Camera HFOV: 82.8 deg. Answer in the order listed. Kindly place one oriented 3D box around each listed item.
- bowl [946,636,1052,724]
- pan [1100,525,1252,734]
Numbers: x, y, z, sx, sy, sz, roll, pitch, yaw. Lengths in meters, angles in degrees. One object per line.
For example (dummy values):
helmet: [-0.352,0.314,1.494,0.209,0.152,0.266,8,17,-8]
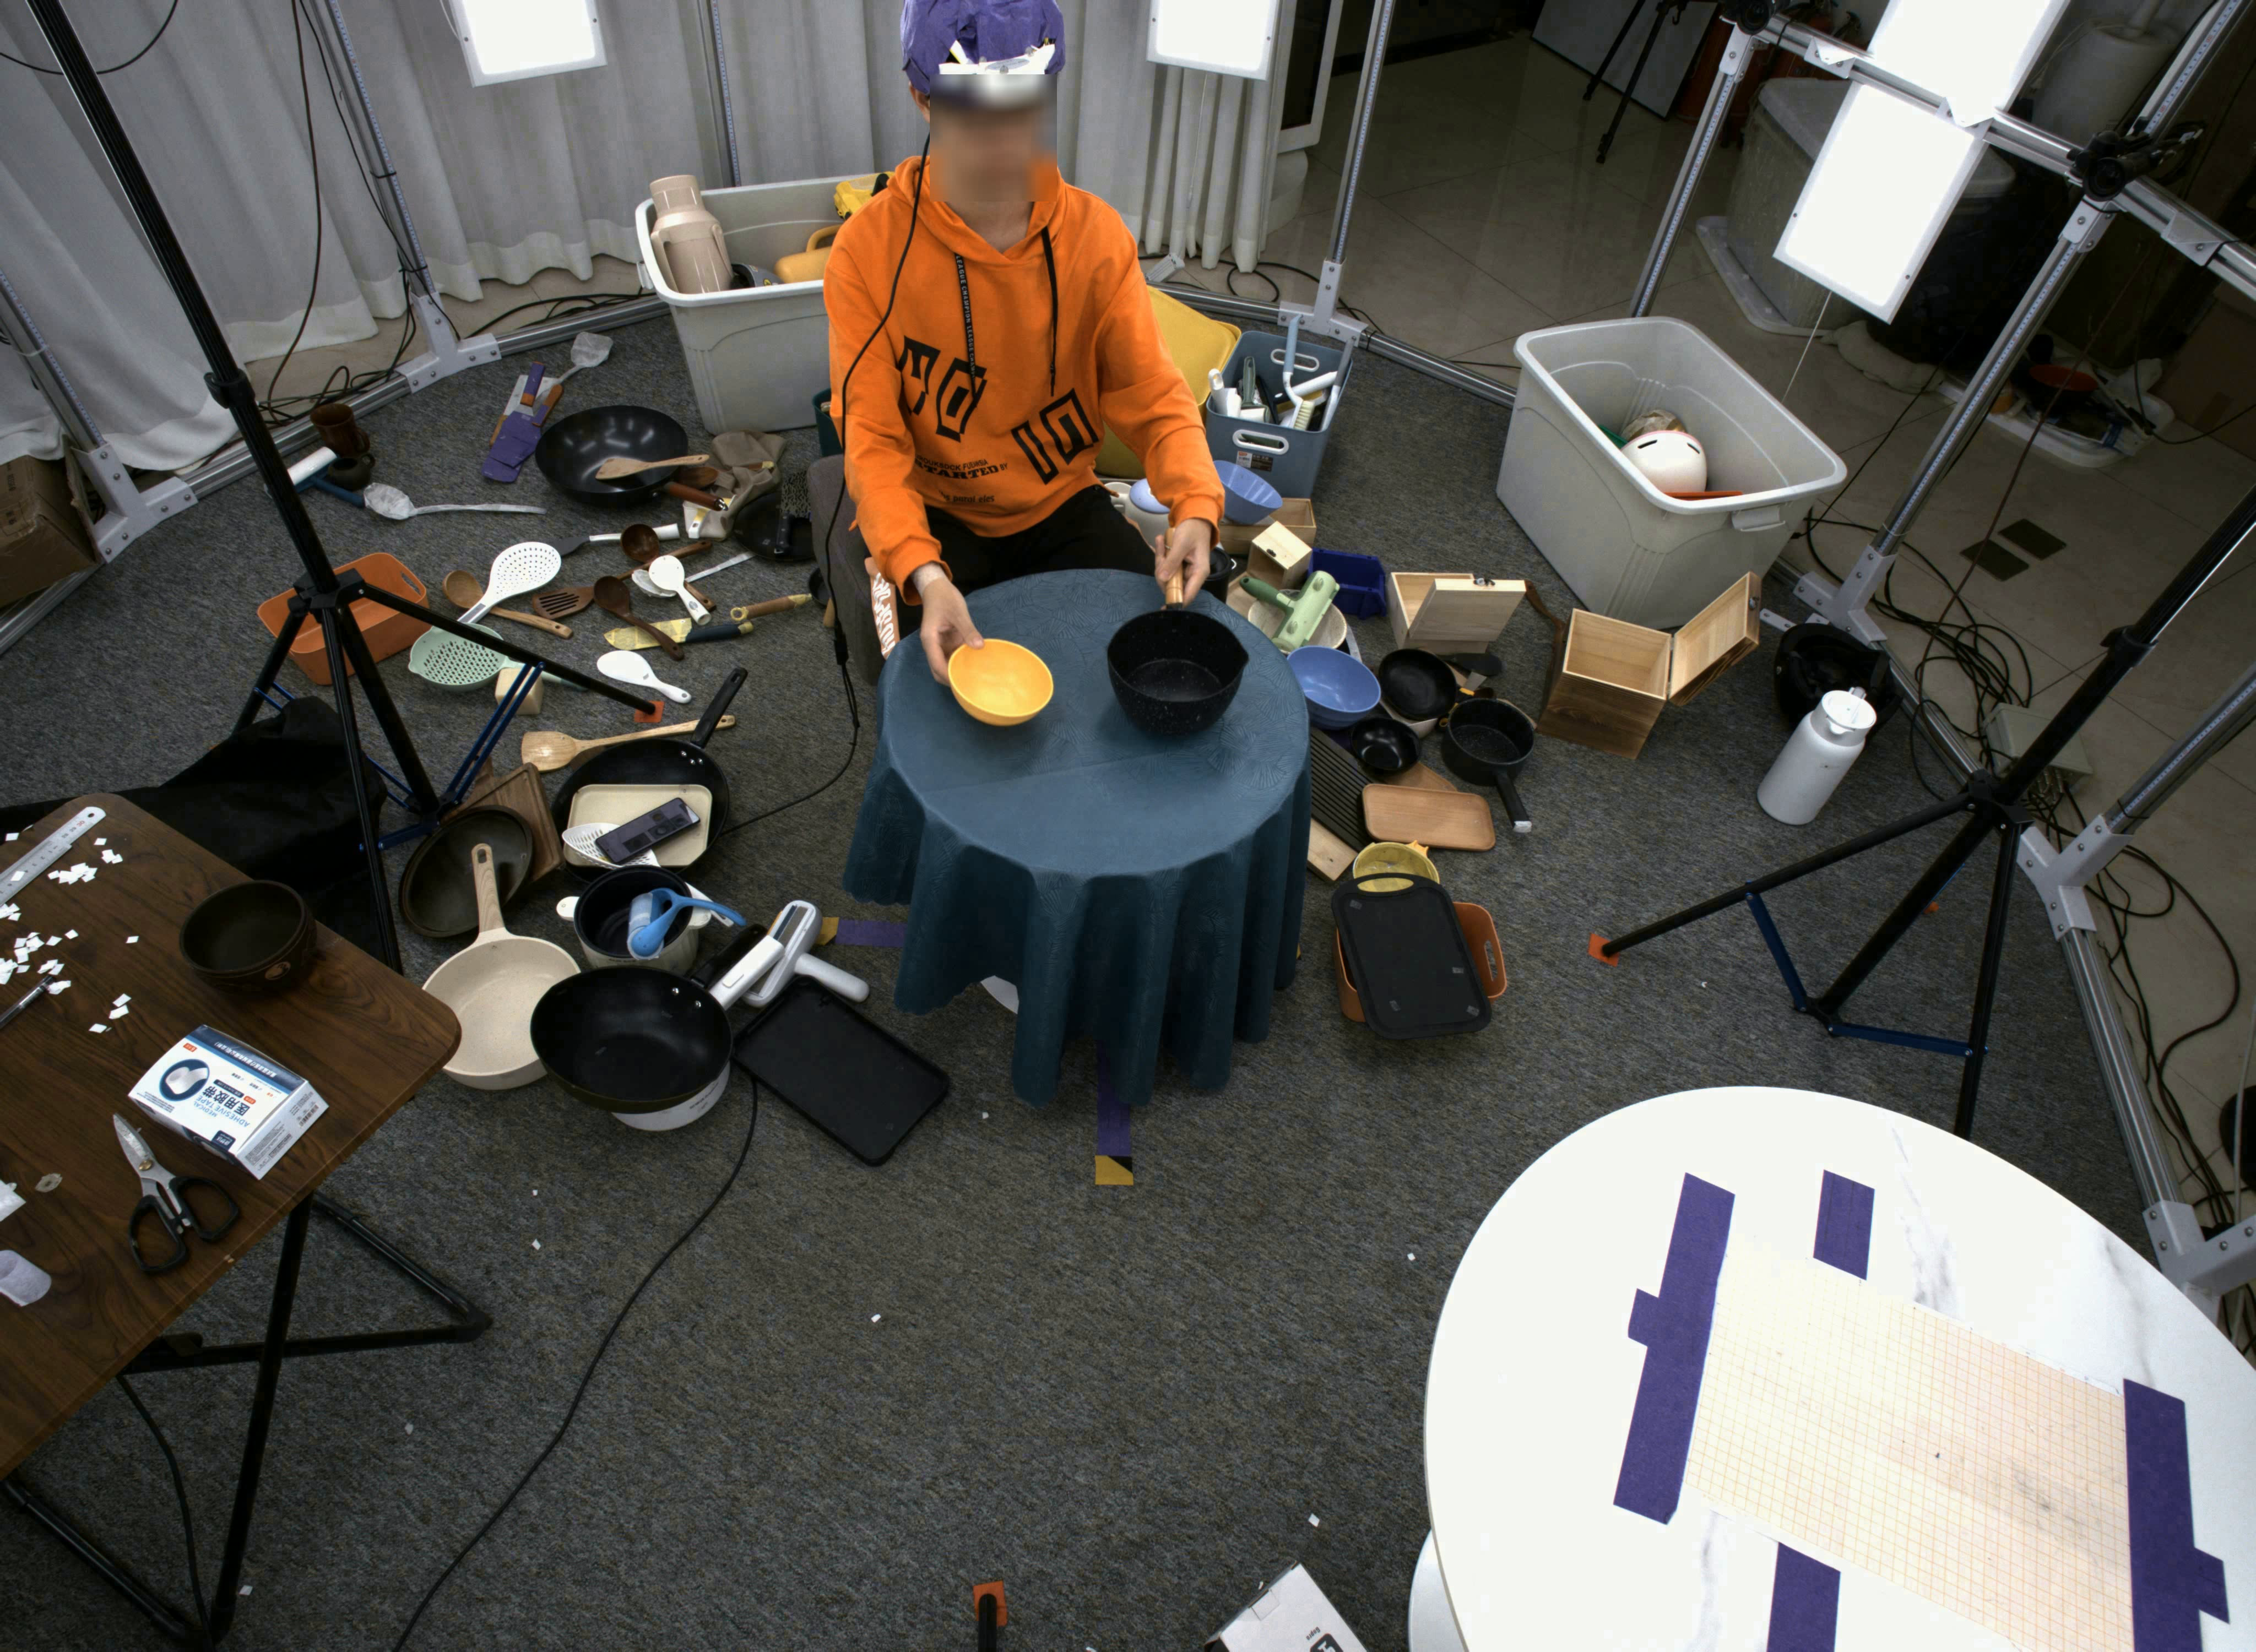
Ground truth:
bowl: [-0.180,-0.186,1.743,0.144,0.059,0.149,11,47,-13]
pan: [0.064,-0.278,1.819,0.207,0.105,0.351,-1,50,0]
